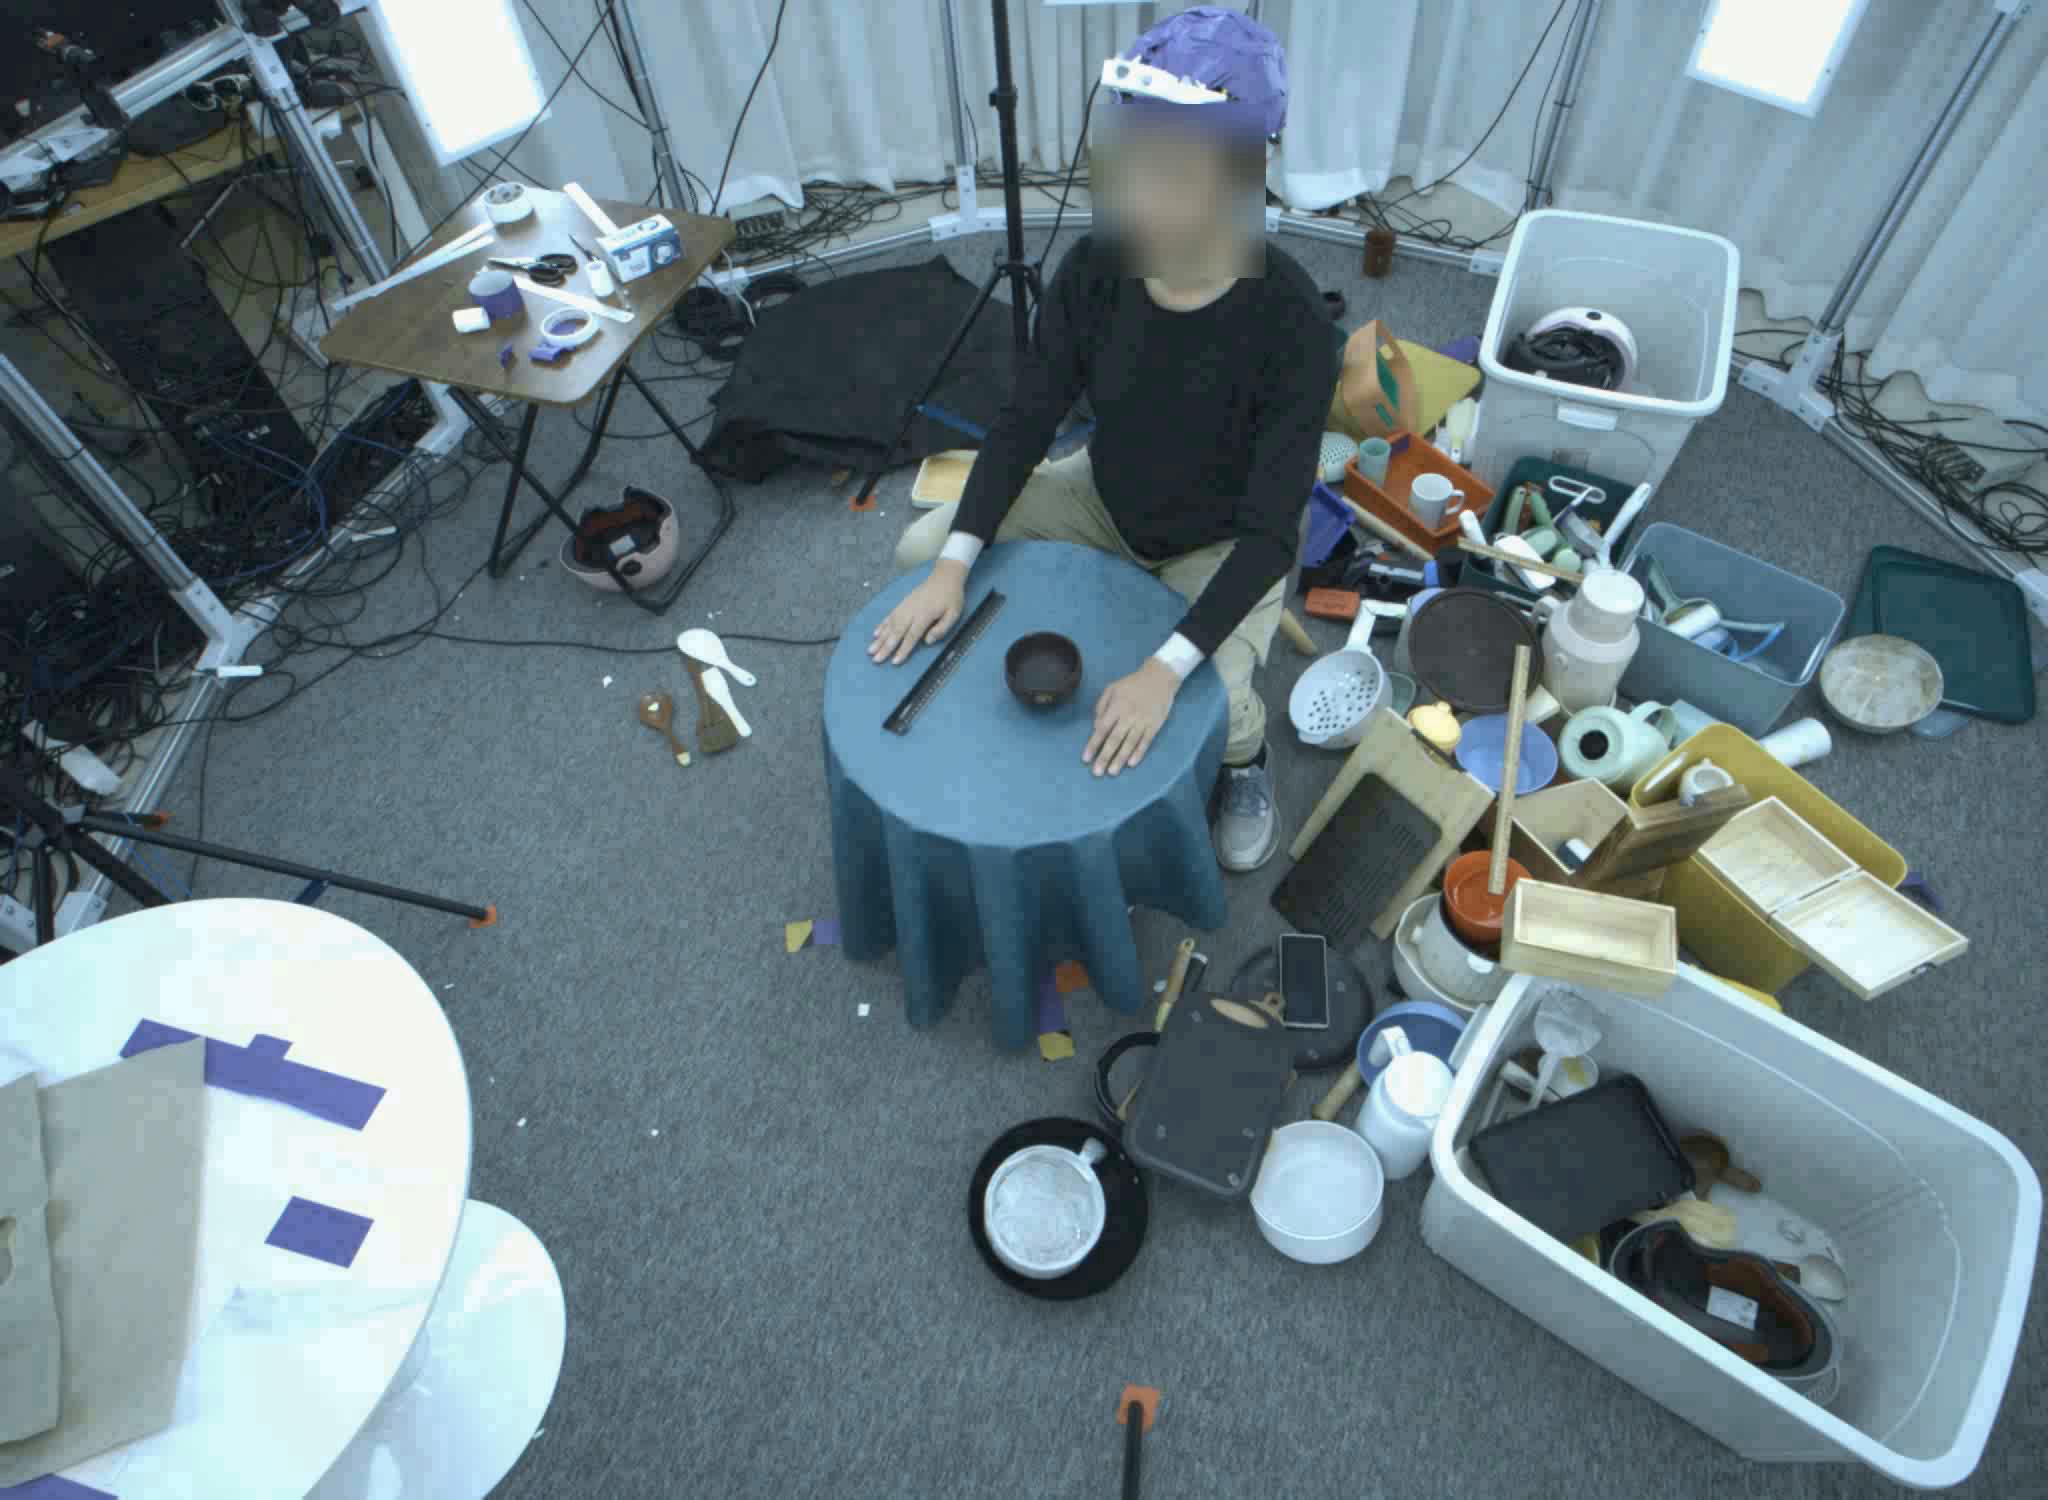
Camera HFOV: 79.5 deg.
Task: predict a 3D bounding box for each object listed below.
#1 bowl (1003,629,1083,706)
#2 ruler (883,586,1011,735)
[{"bbox_3d":[0.029,-0.114,1.822,0.118,0.070,0.117,-1,56,2],"label":"bowl"},{"bbox_3d":[-0.115,-0.142,1.882,0.039,0.017,0.313,27,60,15],"label":"ruler"}]
